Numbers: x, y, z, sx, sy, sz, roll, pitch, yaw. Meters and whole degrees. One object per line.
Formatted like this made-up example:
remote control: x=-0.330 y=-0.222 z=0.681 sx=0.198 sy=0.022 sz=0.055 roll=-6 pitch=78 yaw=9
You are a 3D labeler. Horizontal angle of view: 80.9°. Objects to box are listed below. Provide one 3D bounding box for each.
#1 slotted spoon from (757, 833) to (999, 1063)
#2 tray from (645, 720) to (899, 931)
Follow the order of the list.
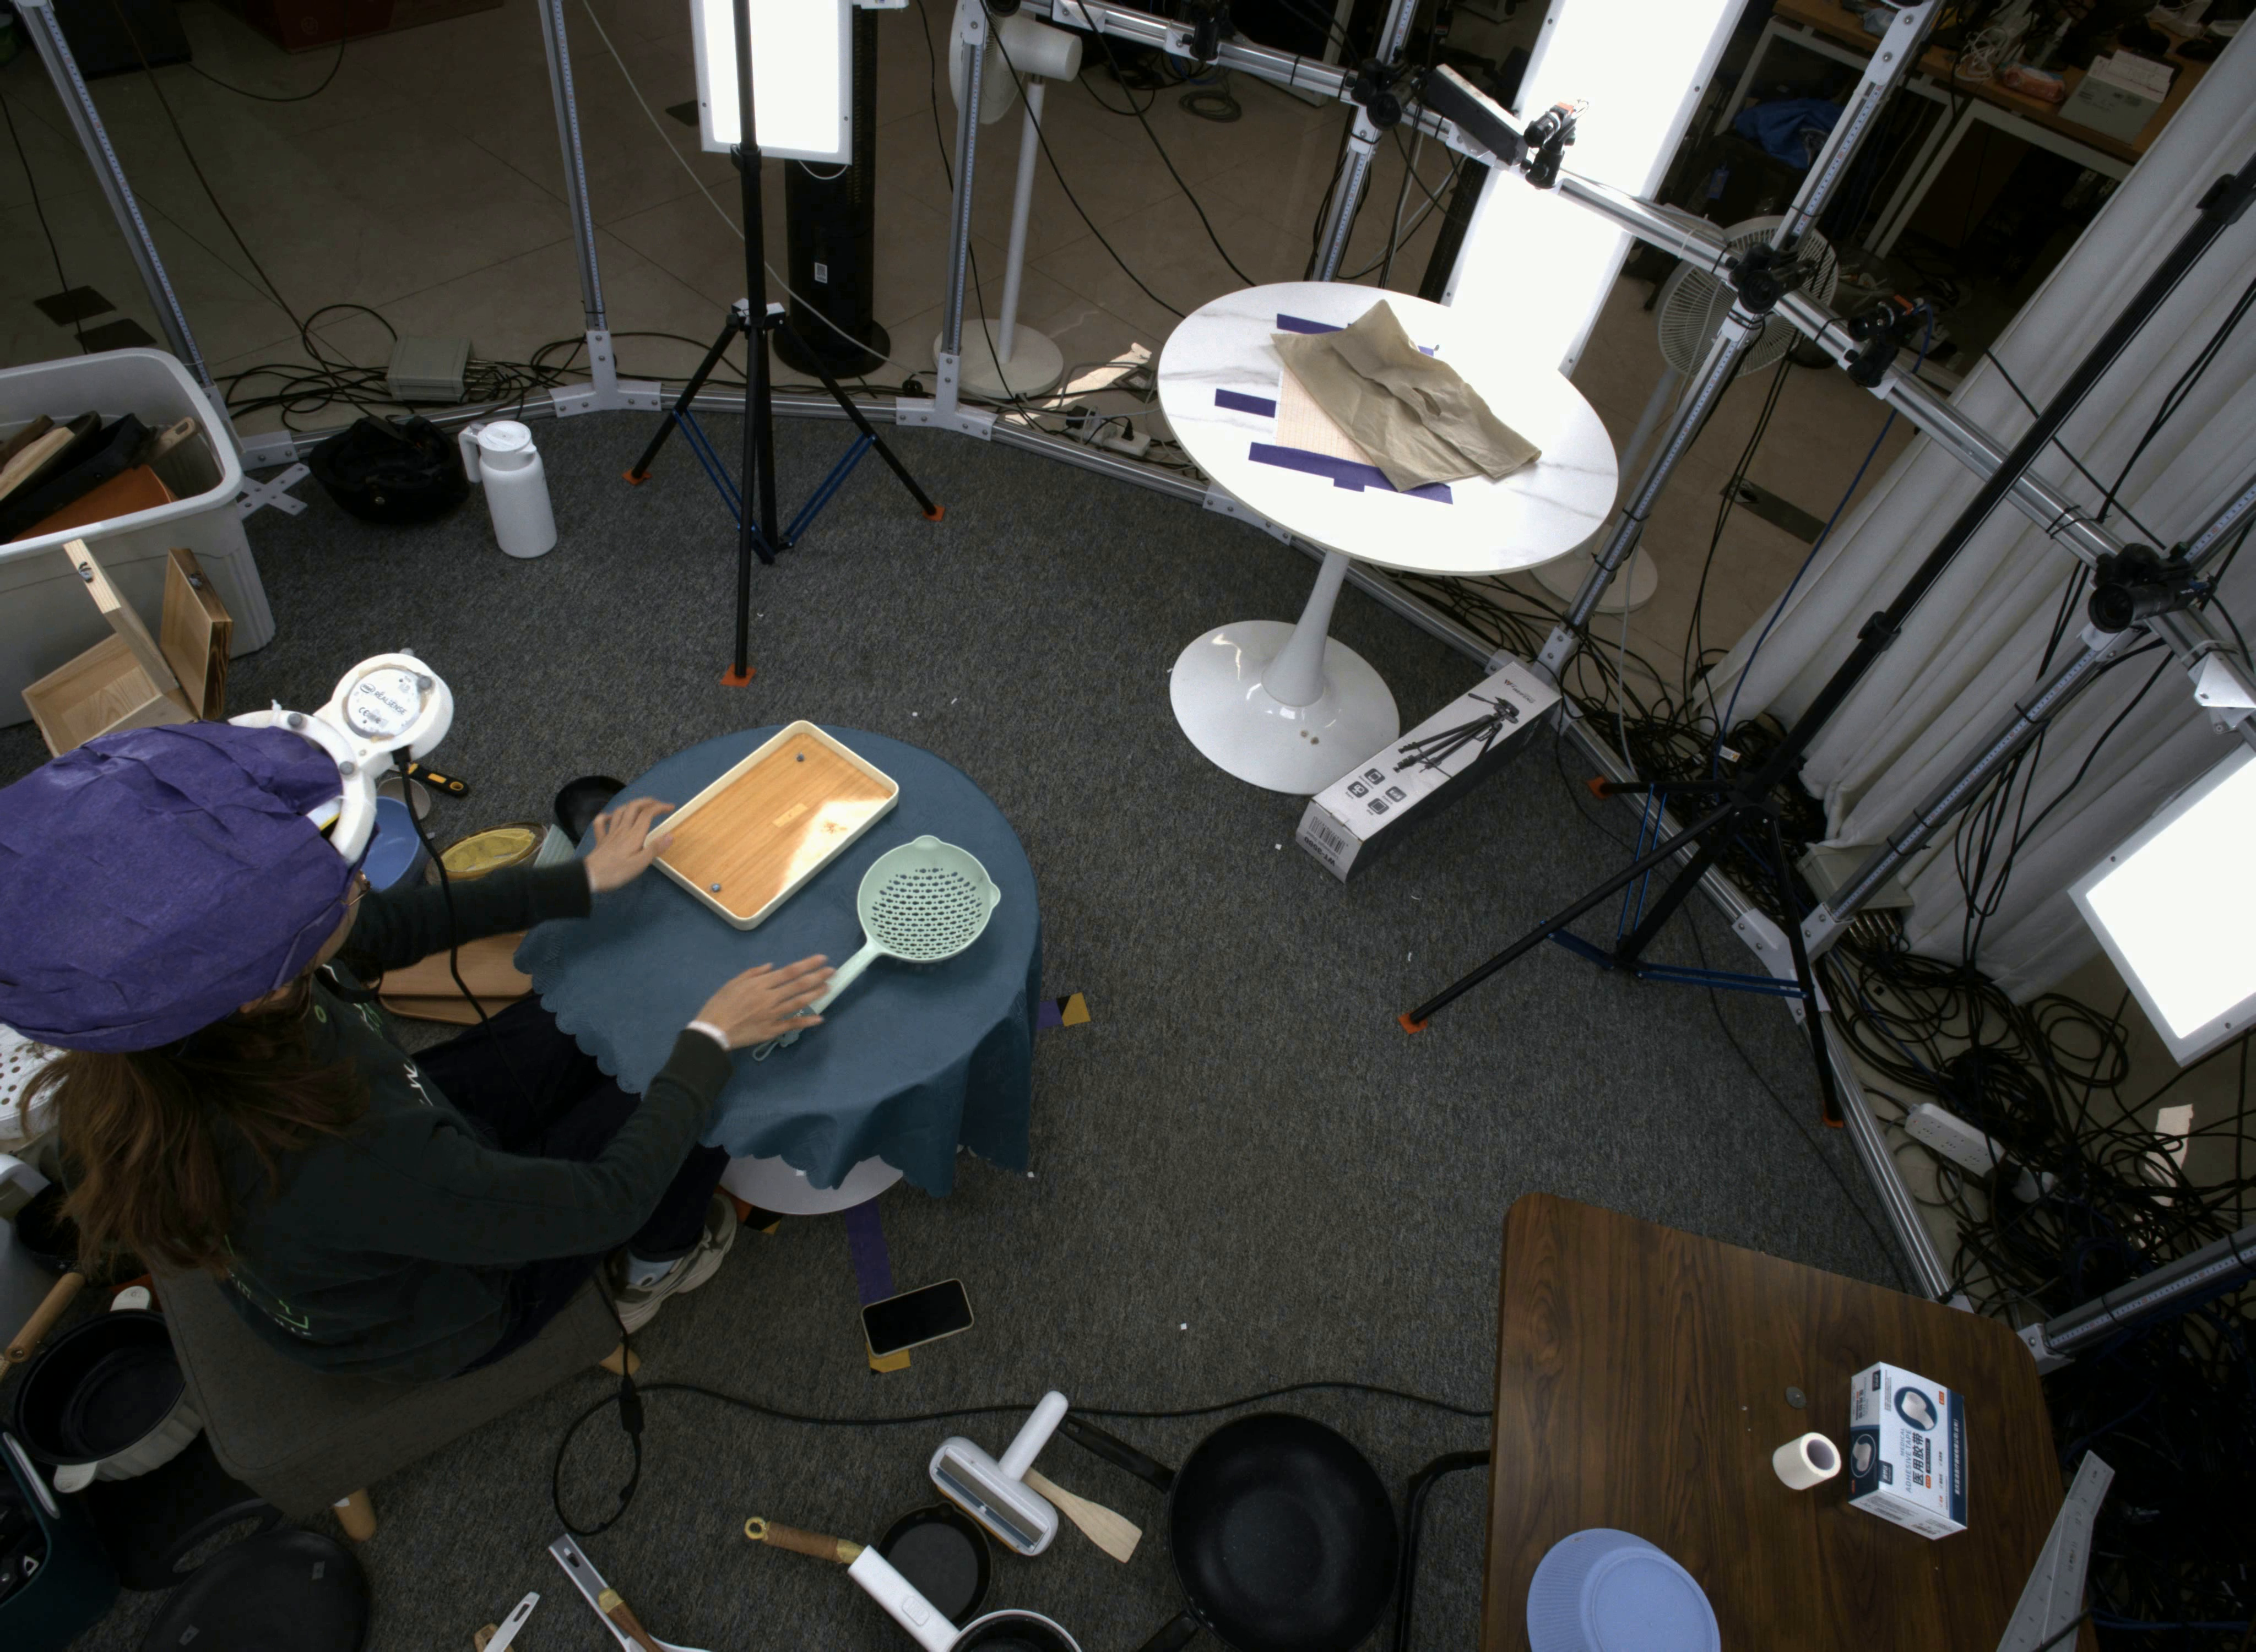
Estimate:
slotted spoon: x=-0.317 y=0.155 z=1.600 sx=0.166 sy=0.077 sz=0.359 roll=38 pitch=54 yaw=16
tray: x=-0.466 y=-0.009 z=1.708 sx=0.188 sy=0.028 sz=0.300 roll=35 pitch=53 yaw=12
